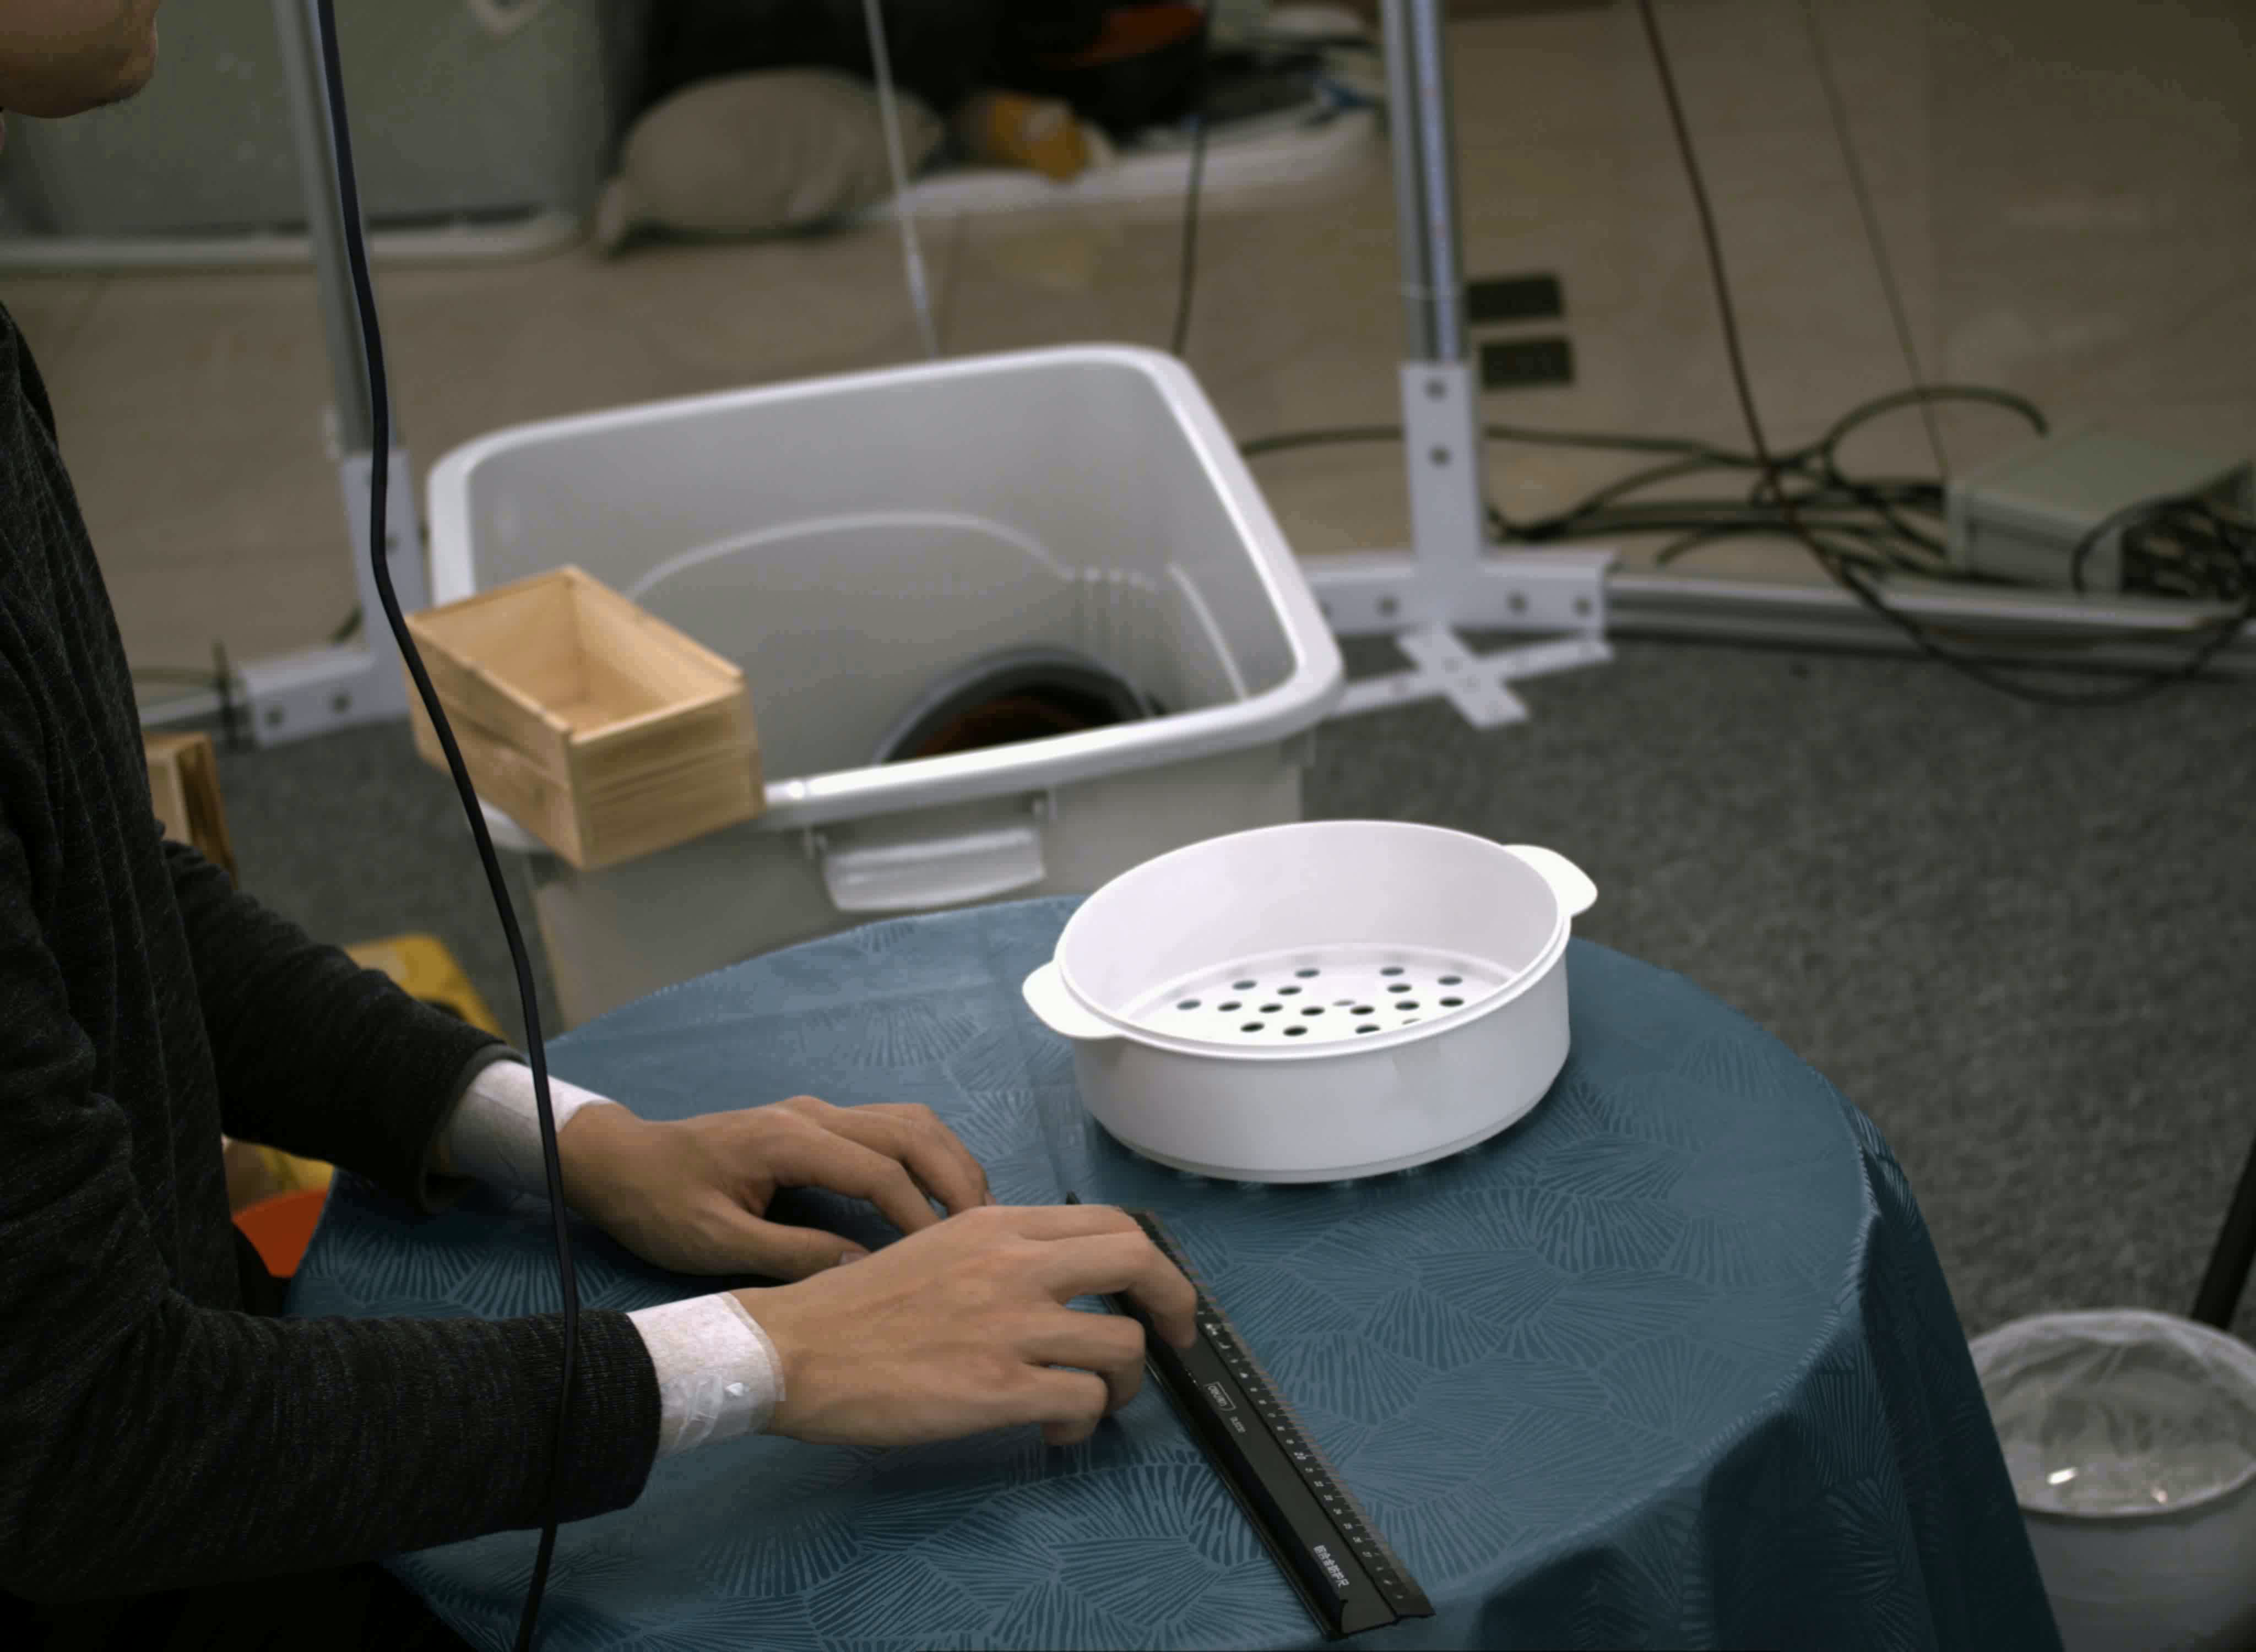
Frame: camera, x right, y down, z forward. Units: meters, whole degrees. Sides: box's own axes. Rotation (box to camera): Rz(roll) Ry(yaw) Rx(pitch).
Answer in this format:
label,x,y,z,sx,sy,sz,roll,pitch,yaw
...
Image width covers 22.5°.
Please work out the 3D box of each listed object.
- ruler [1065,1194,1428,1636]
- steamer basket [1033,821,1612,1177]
label,x,y,z,sx,sy,sz,roll,pitch,yaw
ruler,0.038,0.198,1.993,0.039,0.017,0.308,-9,24,-14
steamer basket,0.078,0.068,2.200,0.230,0.070,0.199,-12,25,-17
